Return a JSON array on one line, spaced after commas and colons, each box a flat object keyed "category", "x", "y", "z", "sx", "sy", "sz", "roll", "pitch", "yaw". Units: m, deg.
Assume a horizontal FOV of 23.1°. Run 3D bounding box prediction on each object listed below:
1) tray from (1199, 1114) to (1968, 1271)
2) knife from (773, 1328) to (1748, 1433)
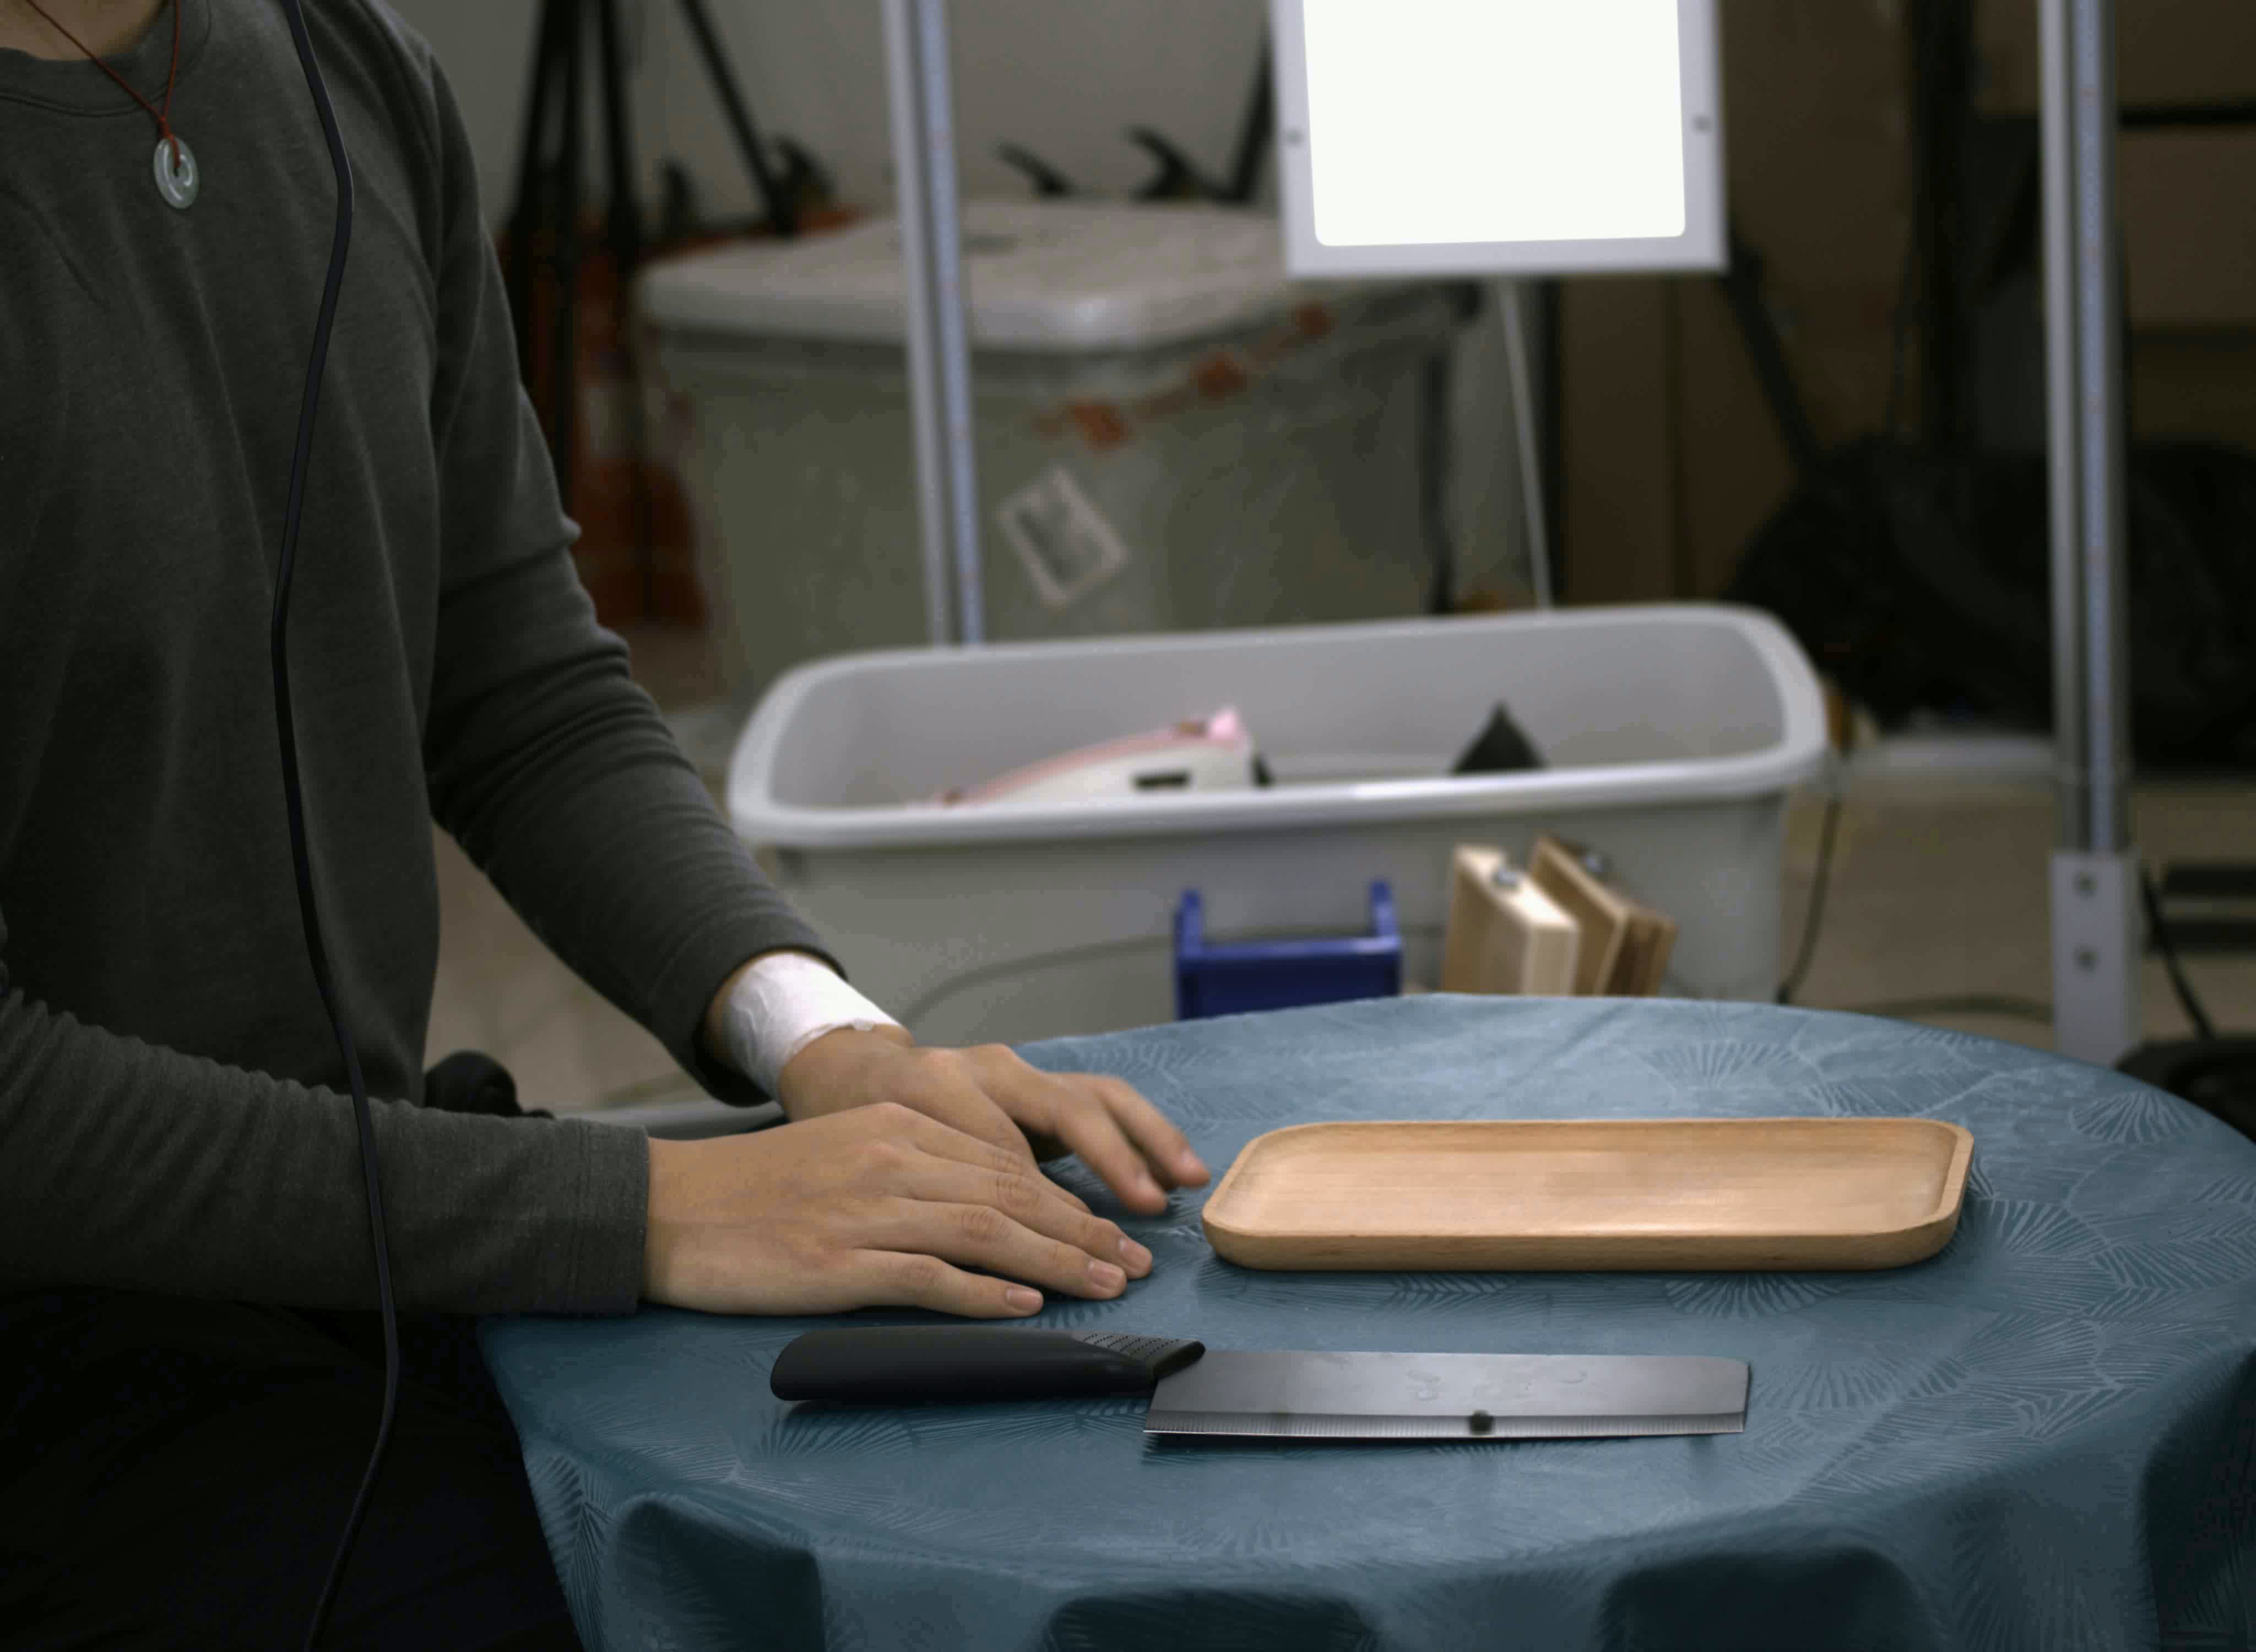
[{"category": "tray", "x": 0.154, "y": 0.122, "z": 1.831, "sx": 0.253, "sy": 0.023, "sz": 0.128, "roll": -2, "pitch": 11, "yaw": 17}, {"category": "knife", "x": 0.040, "y": 0.171, "z": 1.678, "sx": 0.305, "sy": 0.021, "sz": 0.080, "roll": 0, "pitch": 16, "yaw": 15}]
